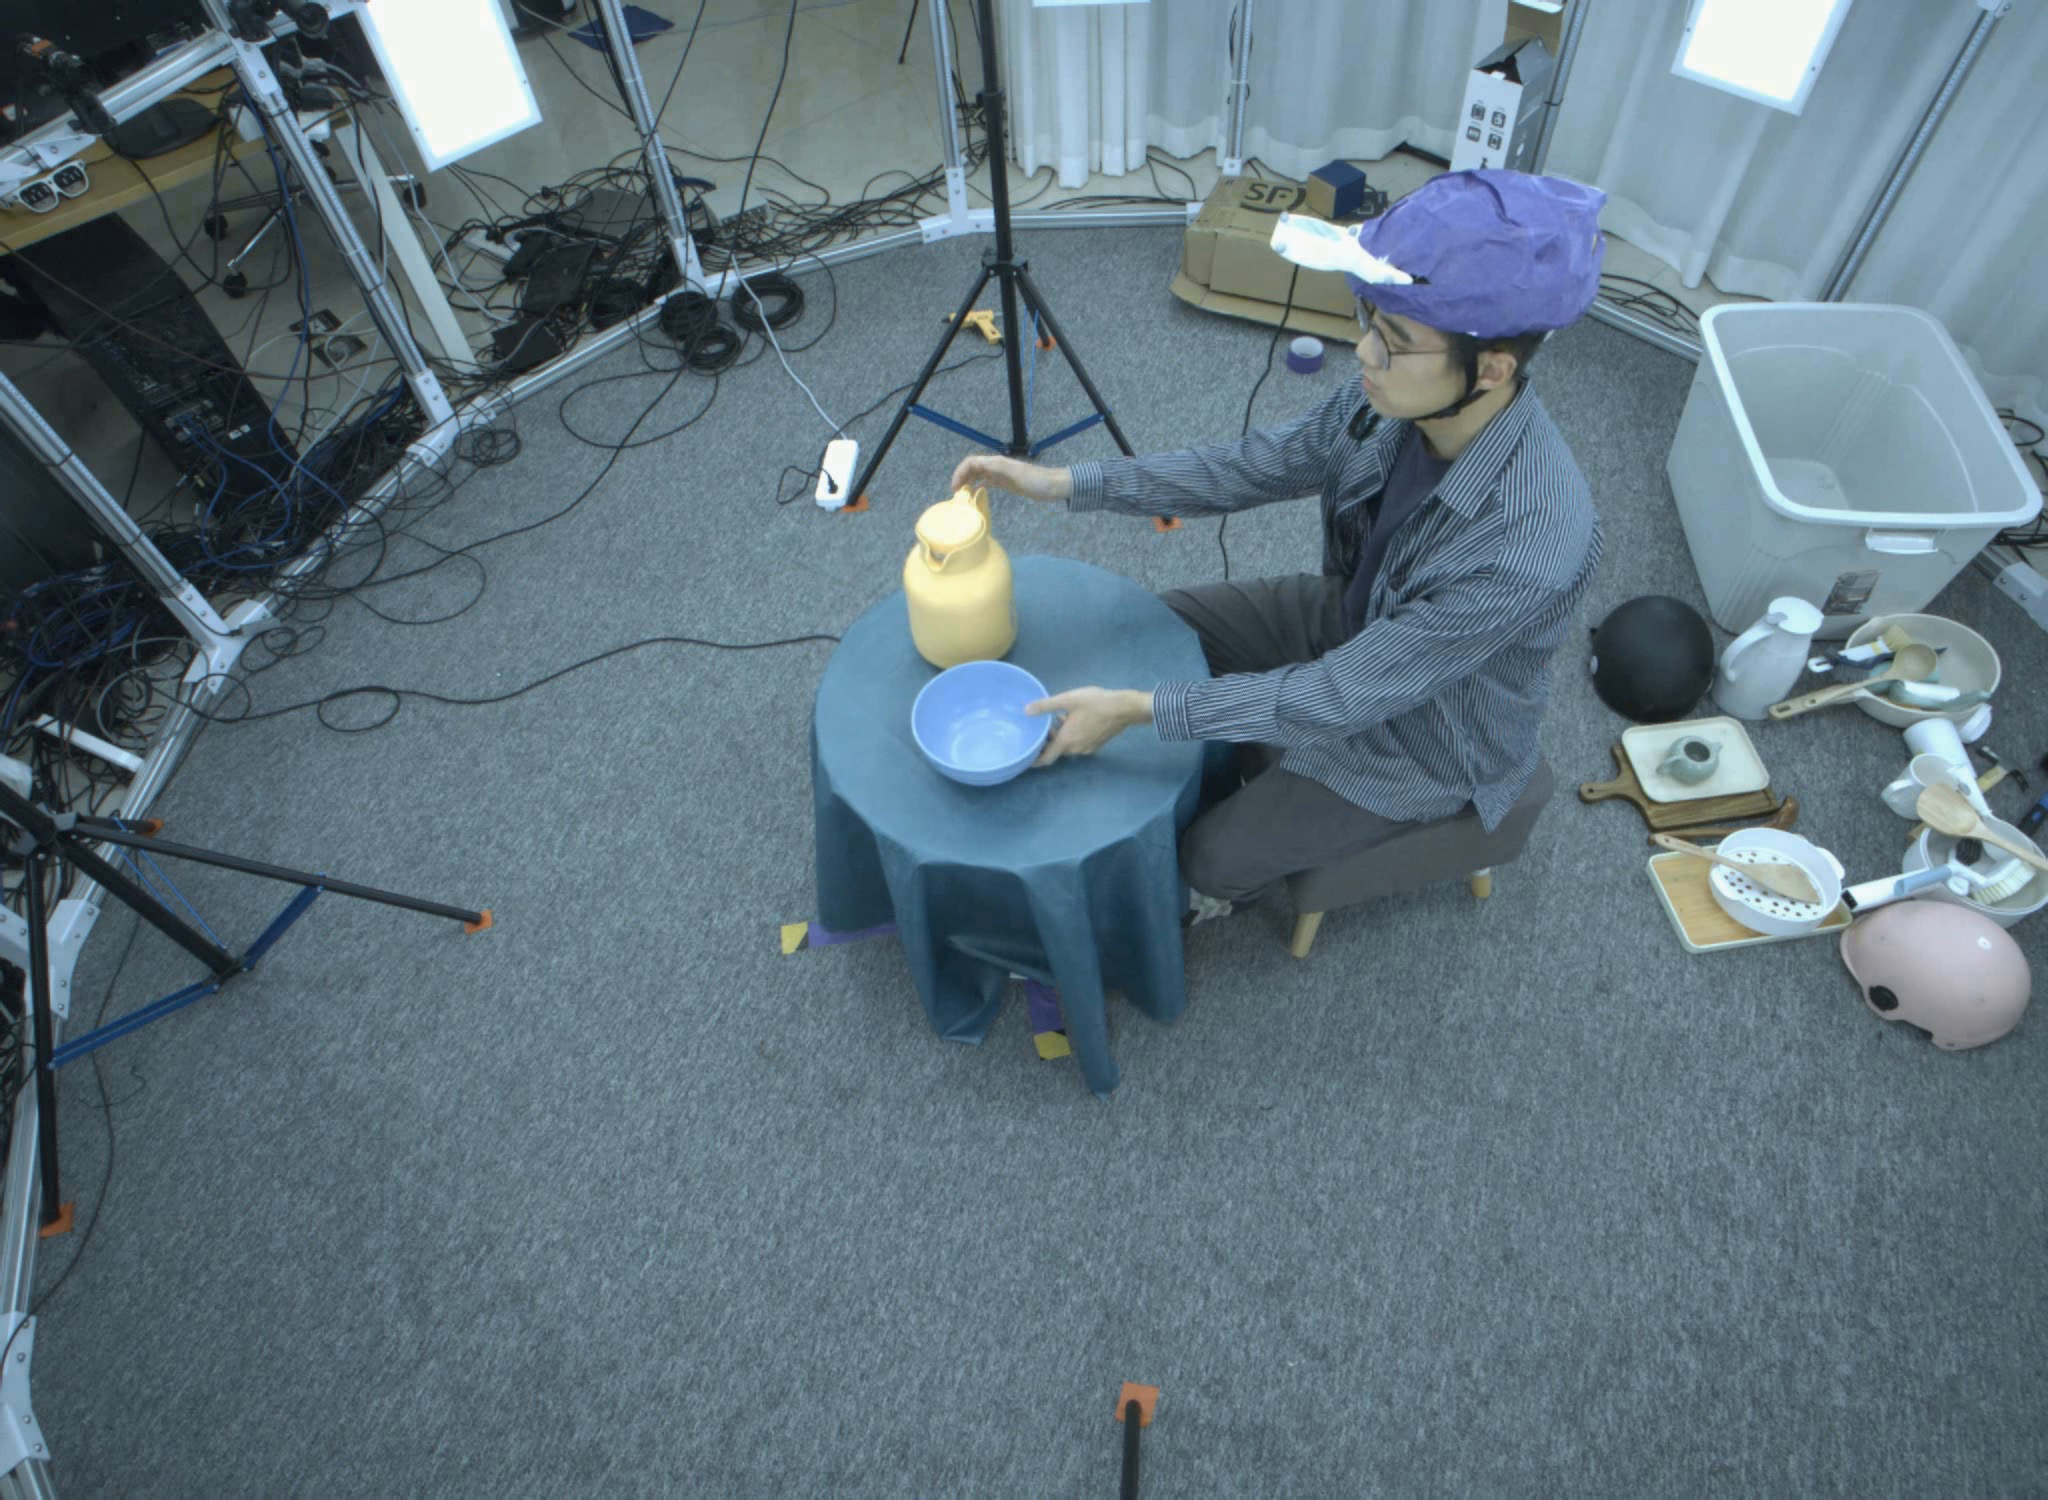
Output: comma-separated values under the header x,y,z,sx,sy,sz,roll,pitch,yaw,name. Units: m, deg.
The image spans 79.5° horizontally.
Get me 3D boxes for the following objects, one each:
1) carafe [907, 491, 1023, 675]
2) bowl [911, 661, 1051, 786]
x,y,z,sx,sy,sz,roll,pitch,yaw,name
-0.084,-0.251,1.812,0.162,0.263,0.202,11,55,11,carafe
-0.057,-0.023,1.752,0.196,0.096,0.194,-1,55,2,bowl
